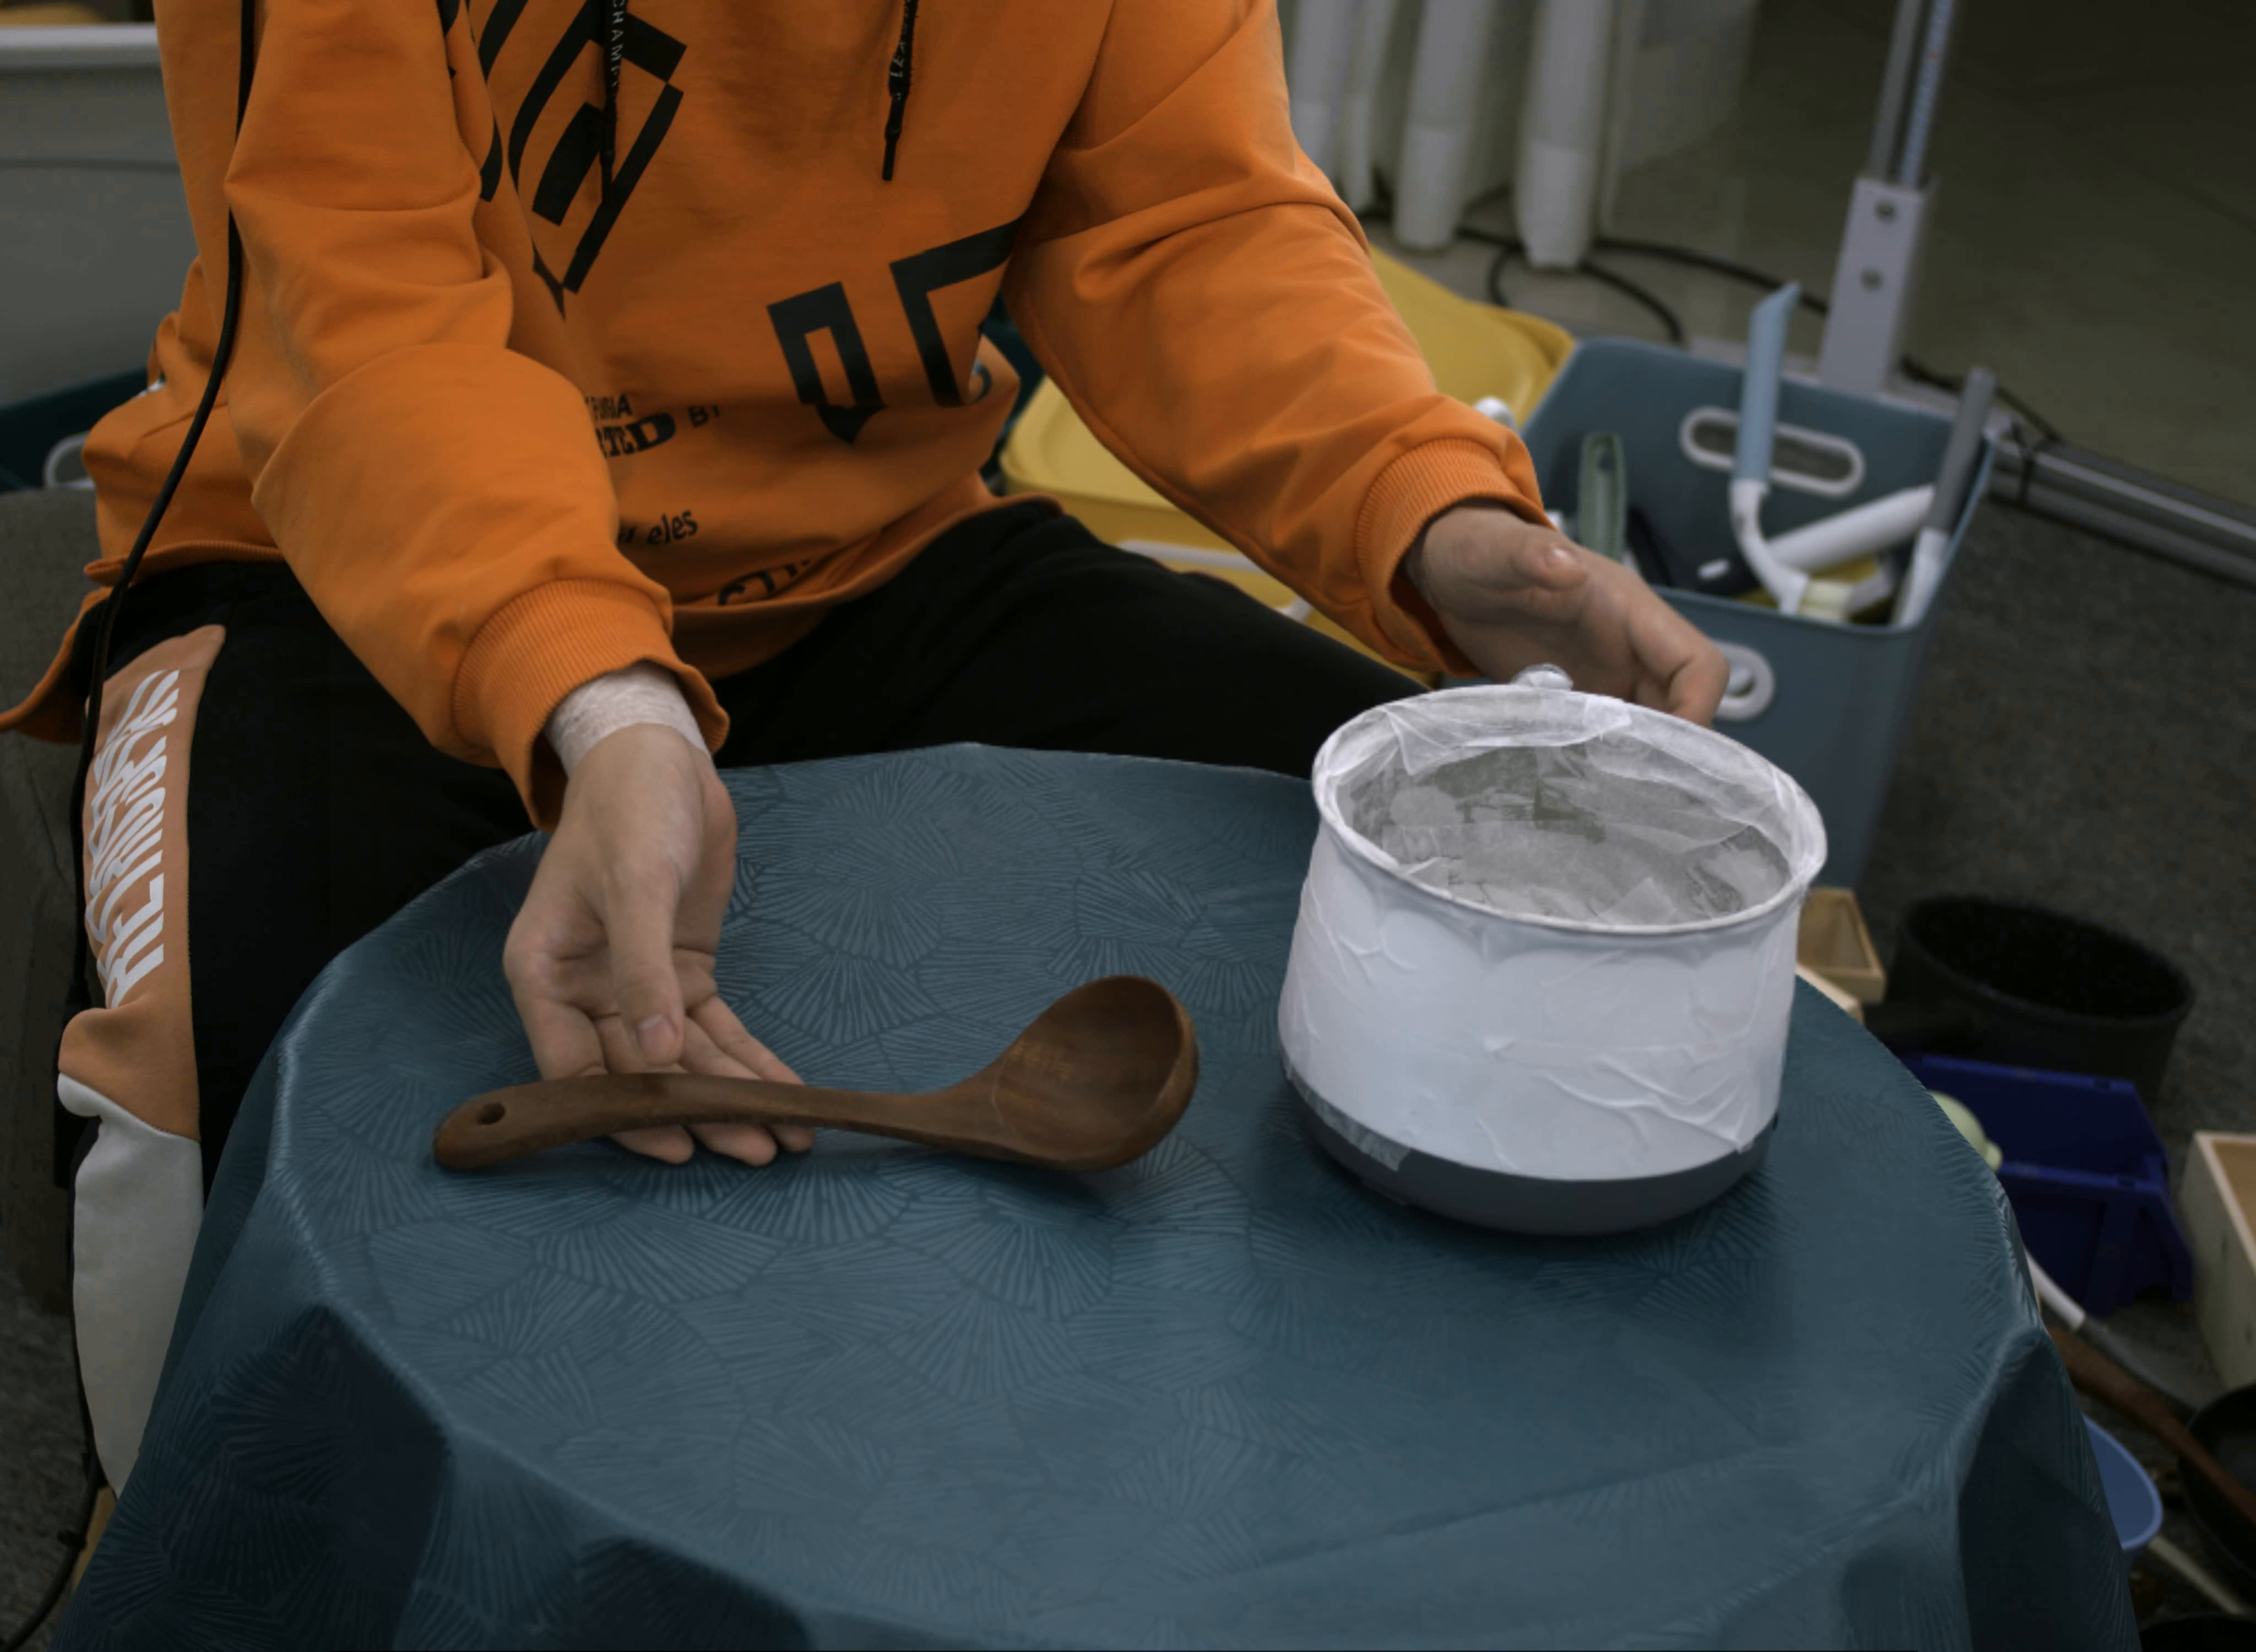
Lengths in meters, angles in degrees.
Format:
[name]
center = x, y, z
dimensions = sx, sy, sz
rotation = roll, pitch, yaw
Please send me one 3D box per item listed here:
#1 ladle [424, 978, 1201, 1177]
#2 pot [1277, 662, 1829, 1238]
[ladle]
center = -0.104, 0.086, 1.783
dimensions = 0.259, 0.065, 0.077
rotation = 1, 36, -13
[pot]
center = 0.142, 0.036, 1.856
dimensions = 0.178, 0.136, 0.235
rotation = 5, 27, -5
